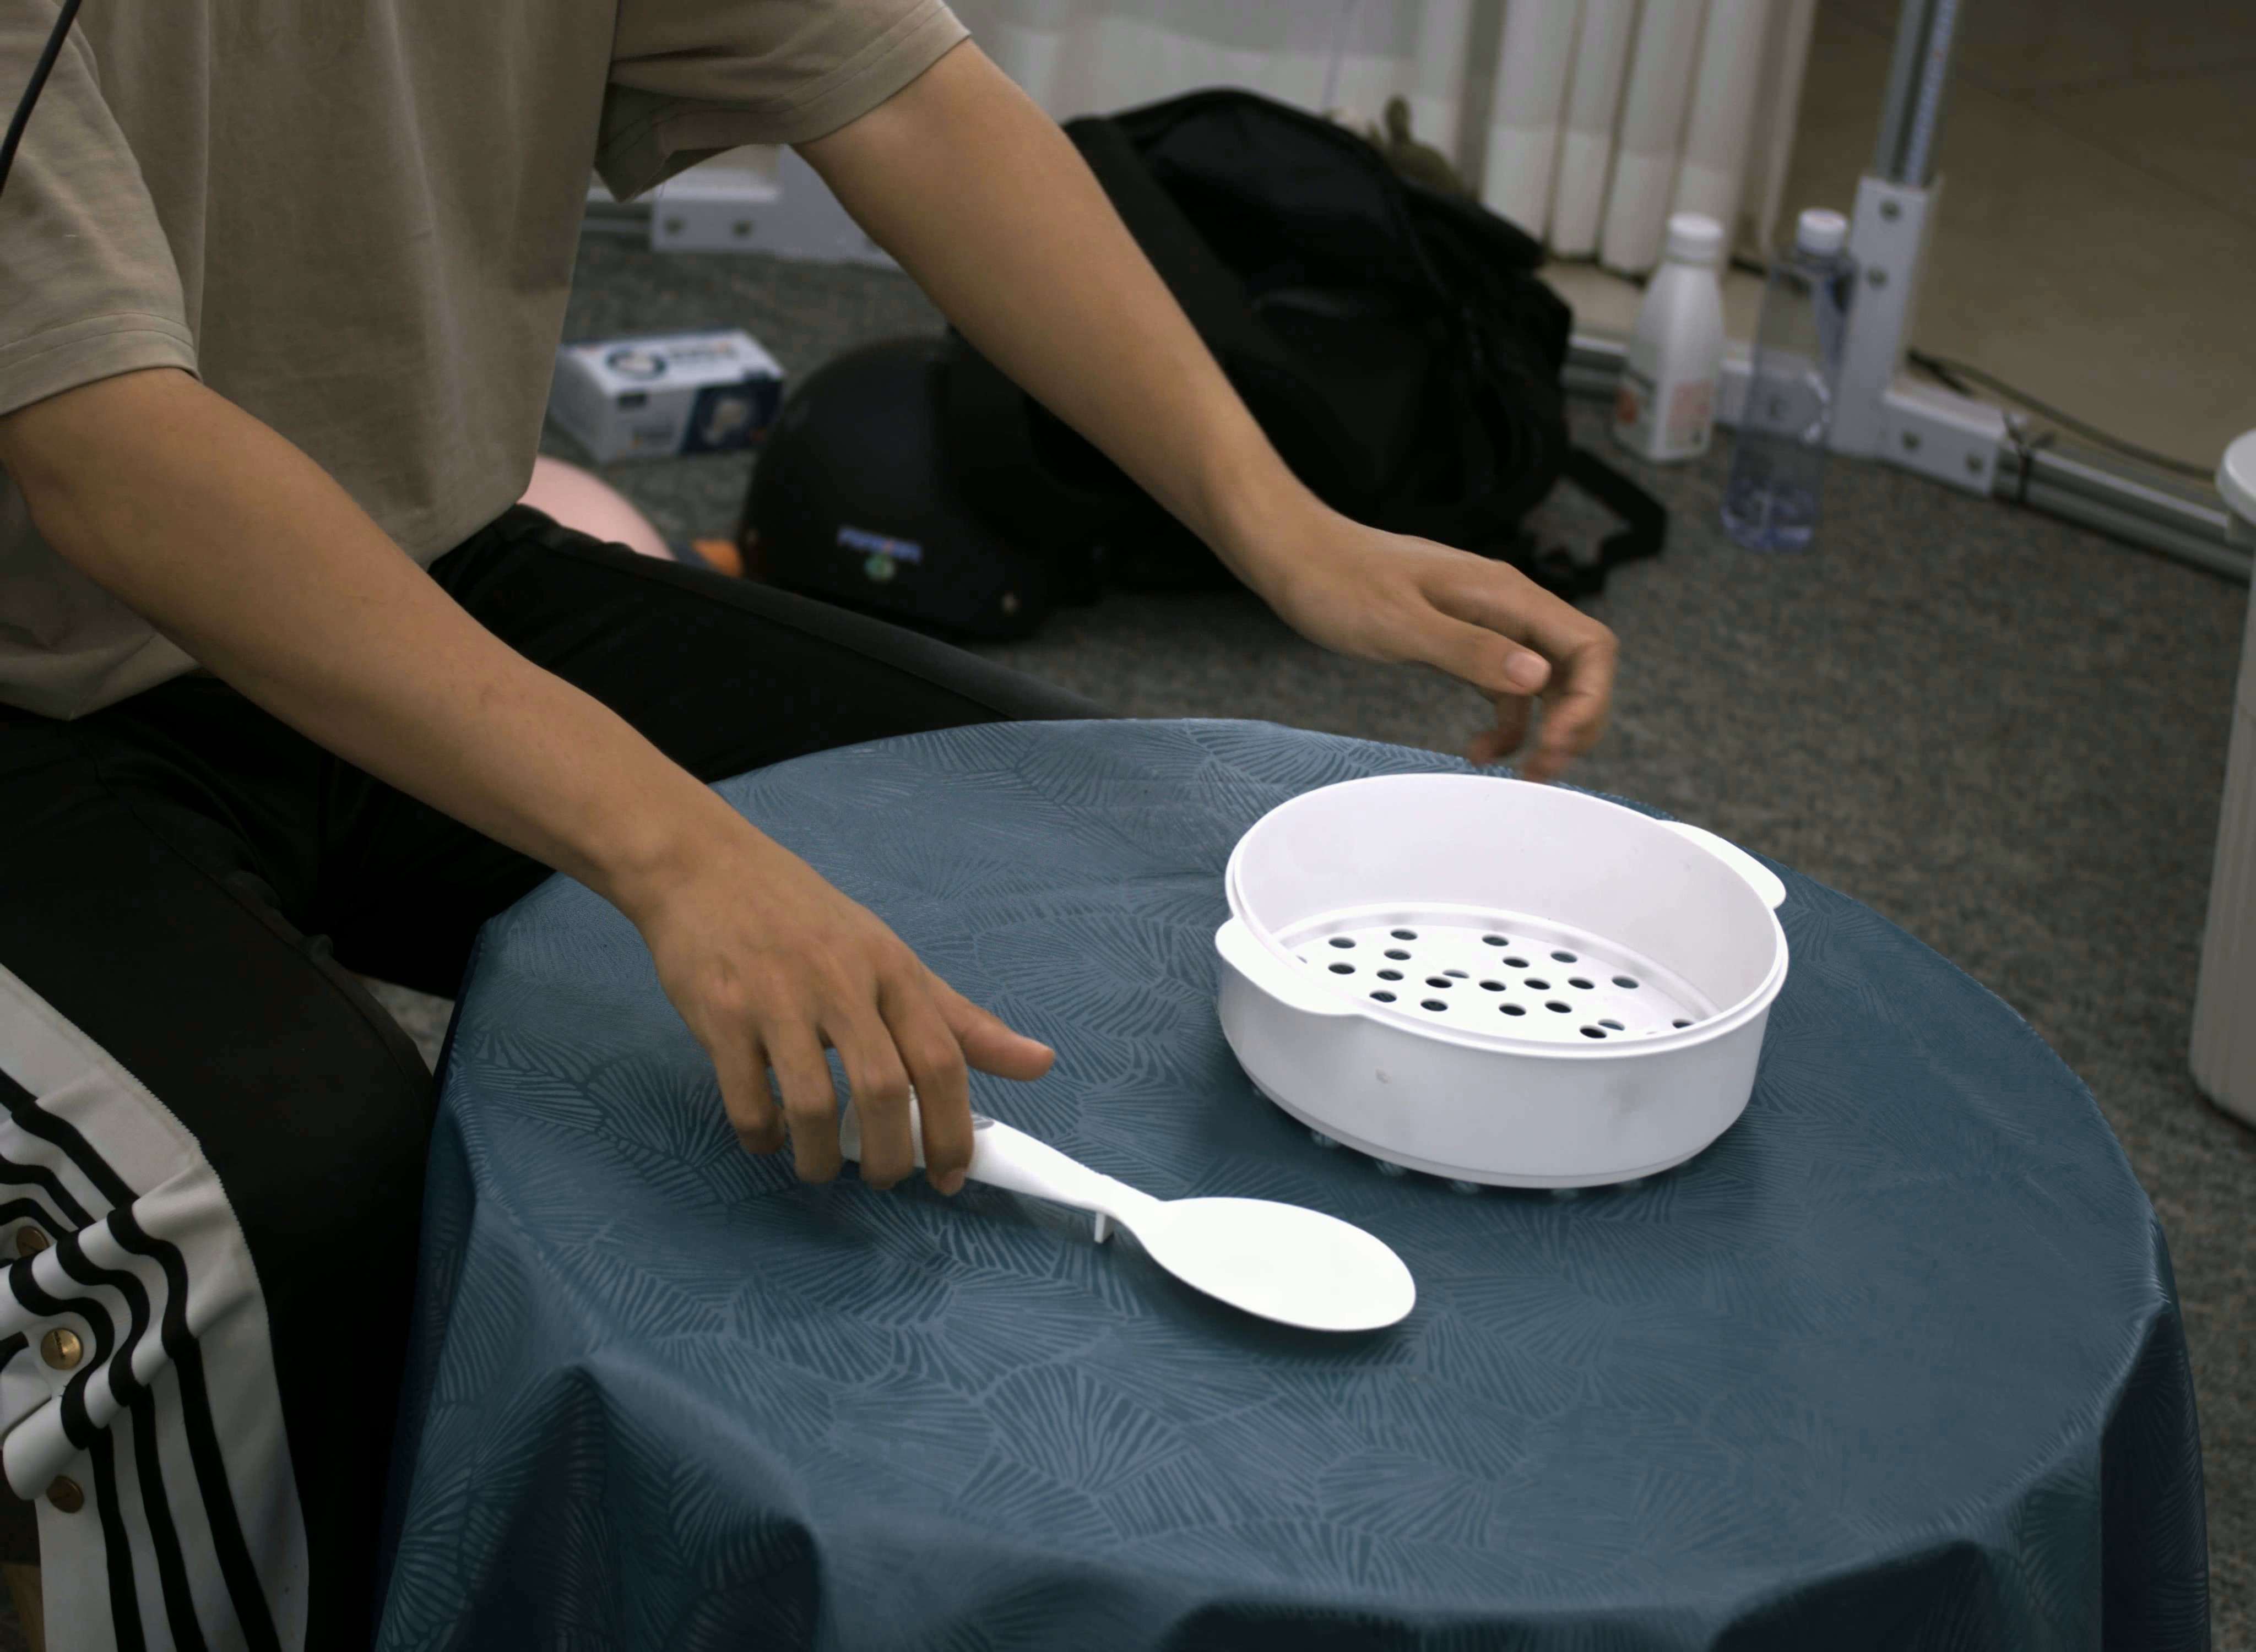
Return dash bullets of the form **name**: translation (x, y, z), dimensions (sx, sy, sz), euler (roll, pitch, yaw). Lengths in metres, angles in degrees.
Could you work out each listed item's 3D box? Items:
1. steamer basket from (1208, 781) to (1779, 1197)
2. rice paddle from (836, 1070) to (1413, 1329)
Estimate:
- **steamer basket**: translation (0.127, 0.059, 1.893), dimensions (0.229, 0.069, 0.204), euler (-10, 32, -34)
- **rice paddle**: translation (0.000, 0.125, 1.768), dimensions (0.206, 0.029, 0.069), euler (18, 30, 20)
